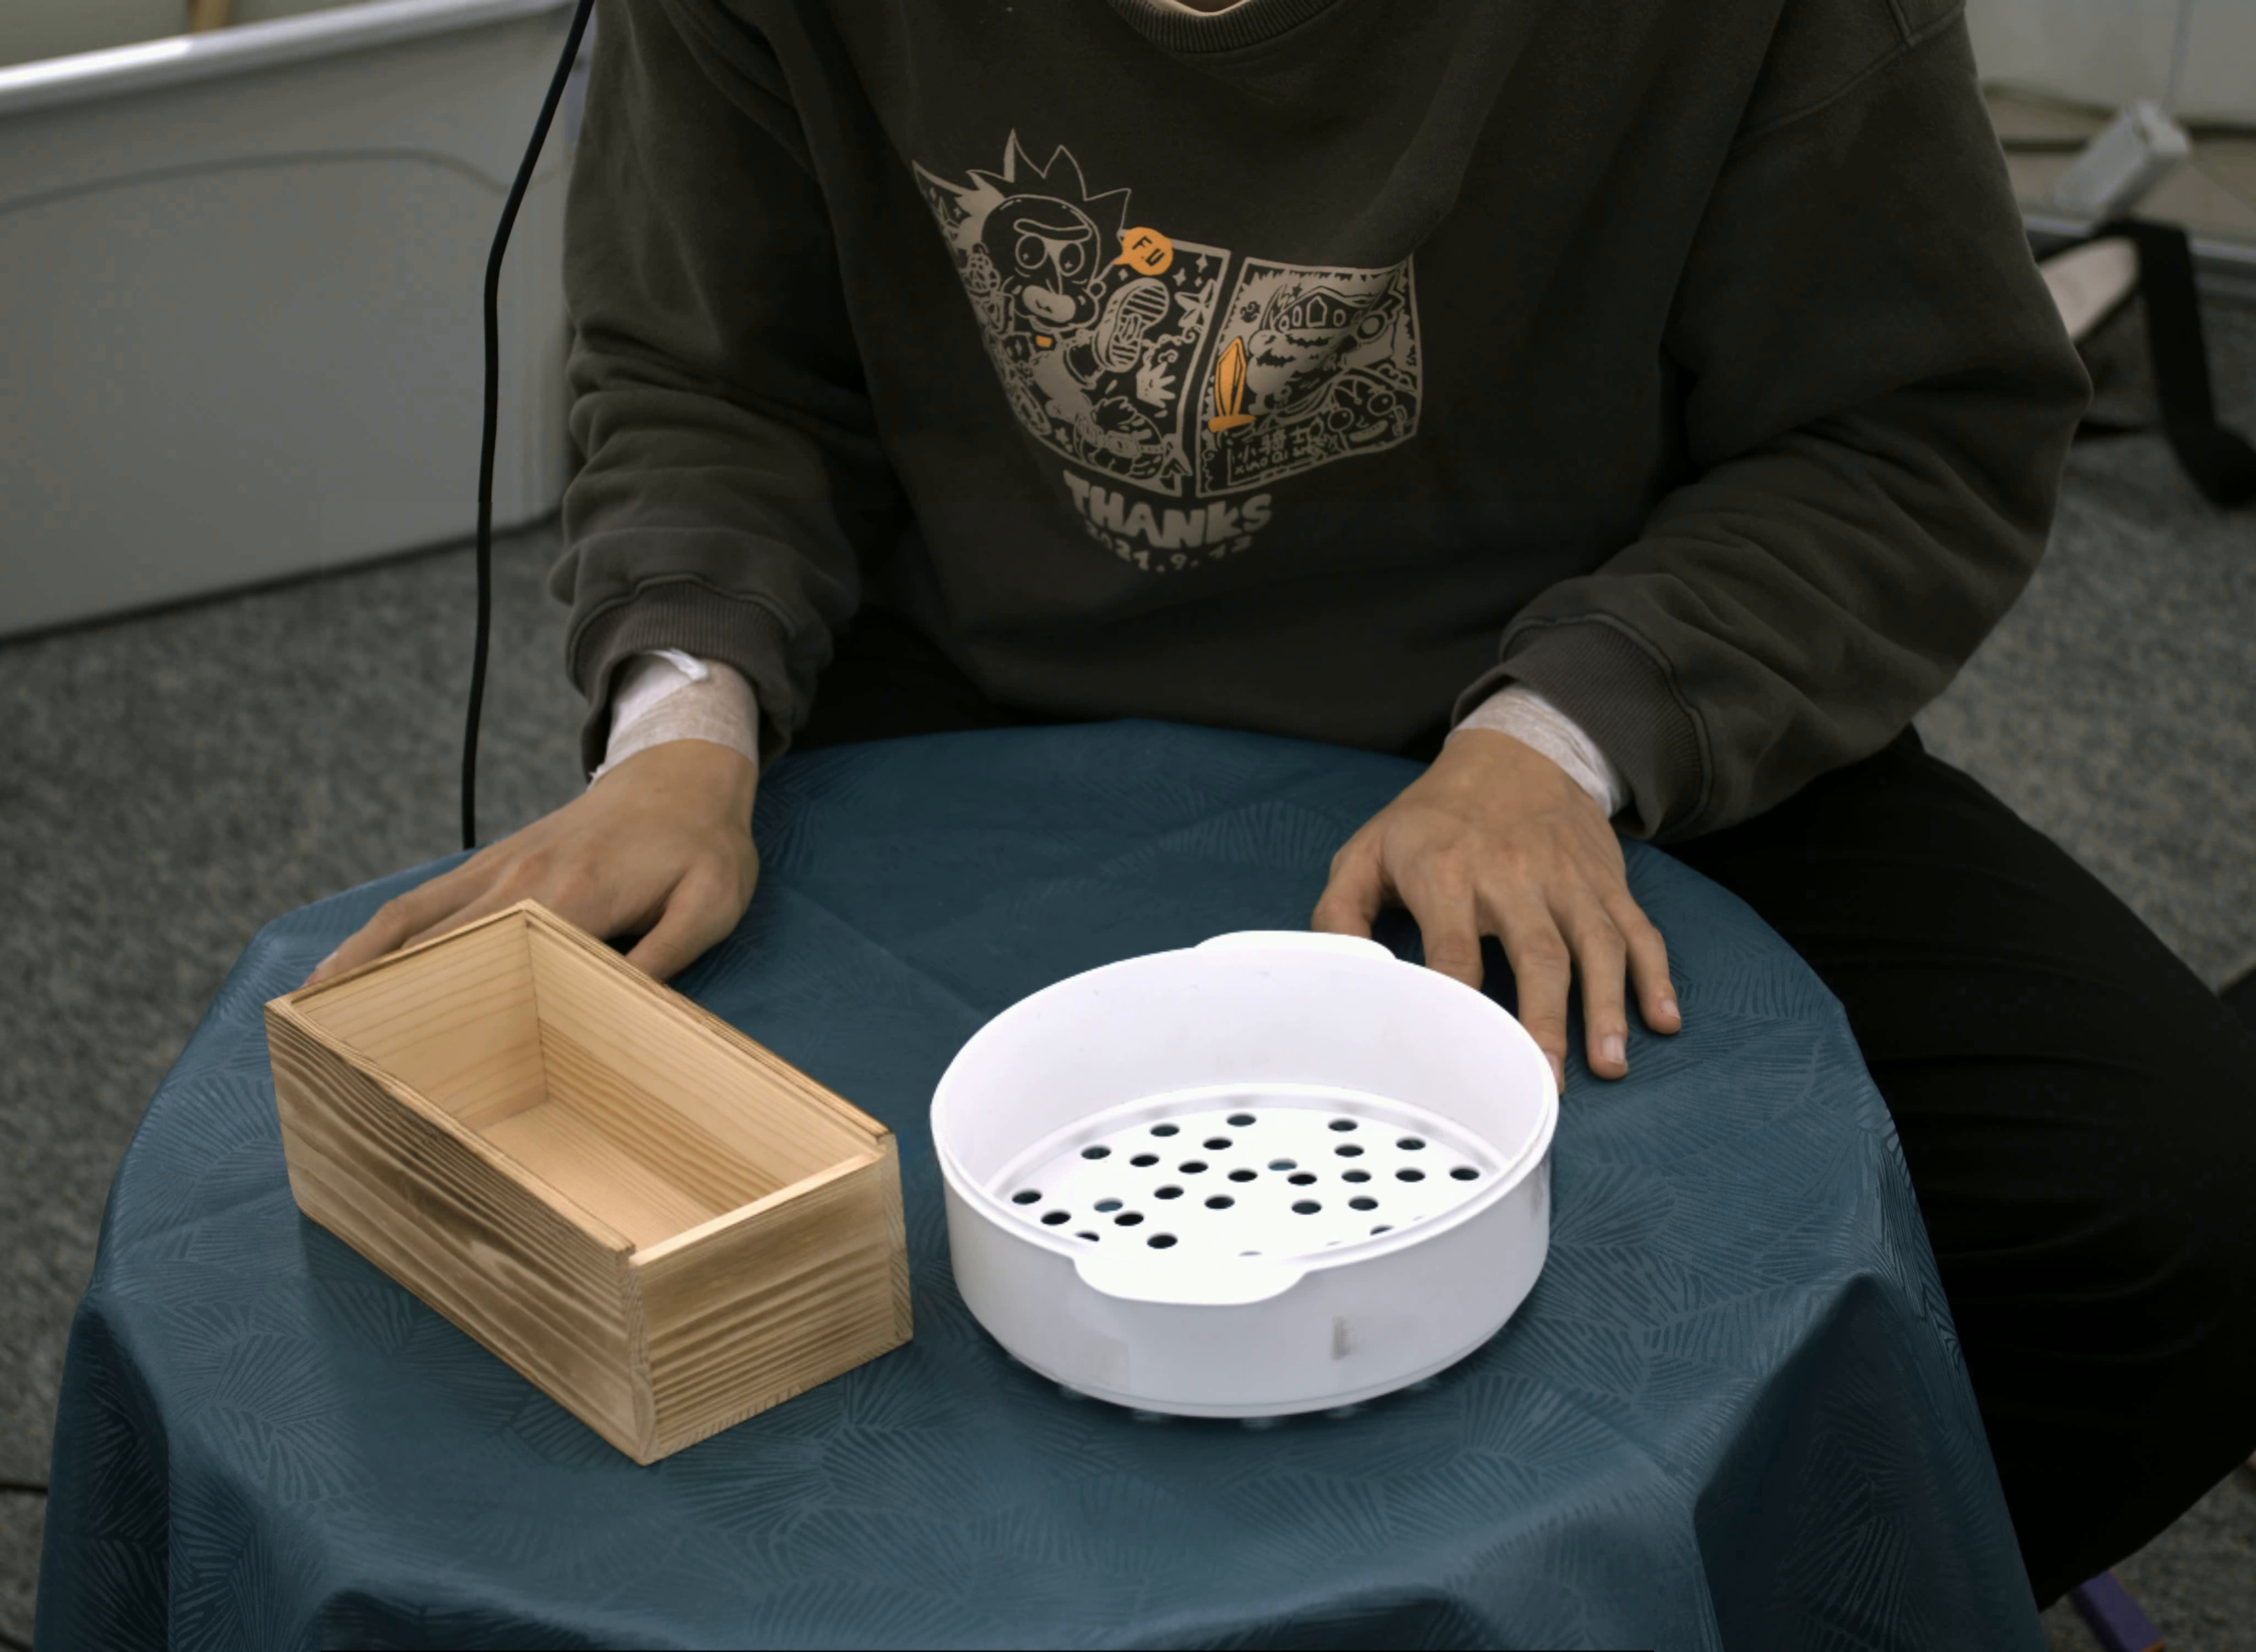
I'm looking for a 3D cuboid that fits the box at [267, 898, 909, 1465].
[{"bbox_3d":[-0.176,0.111,1.813,0.108,0.079,0.211,-22,33,-33],"label":"box"}]

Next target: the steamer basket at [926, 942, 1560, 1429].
[{"bbox_3d":[0.037,0.116,1.794,0.200,0.068,0.234,3,27,11],"label":"steamer basket"}]
